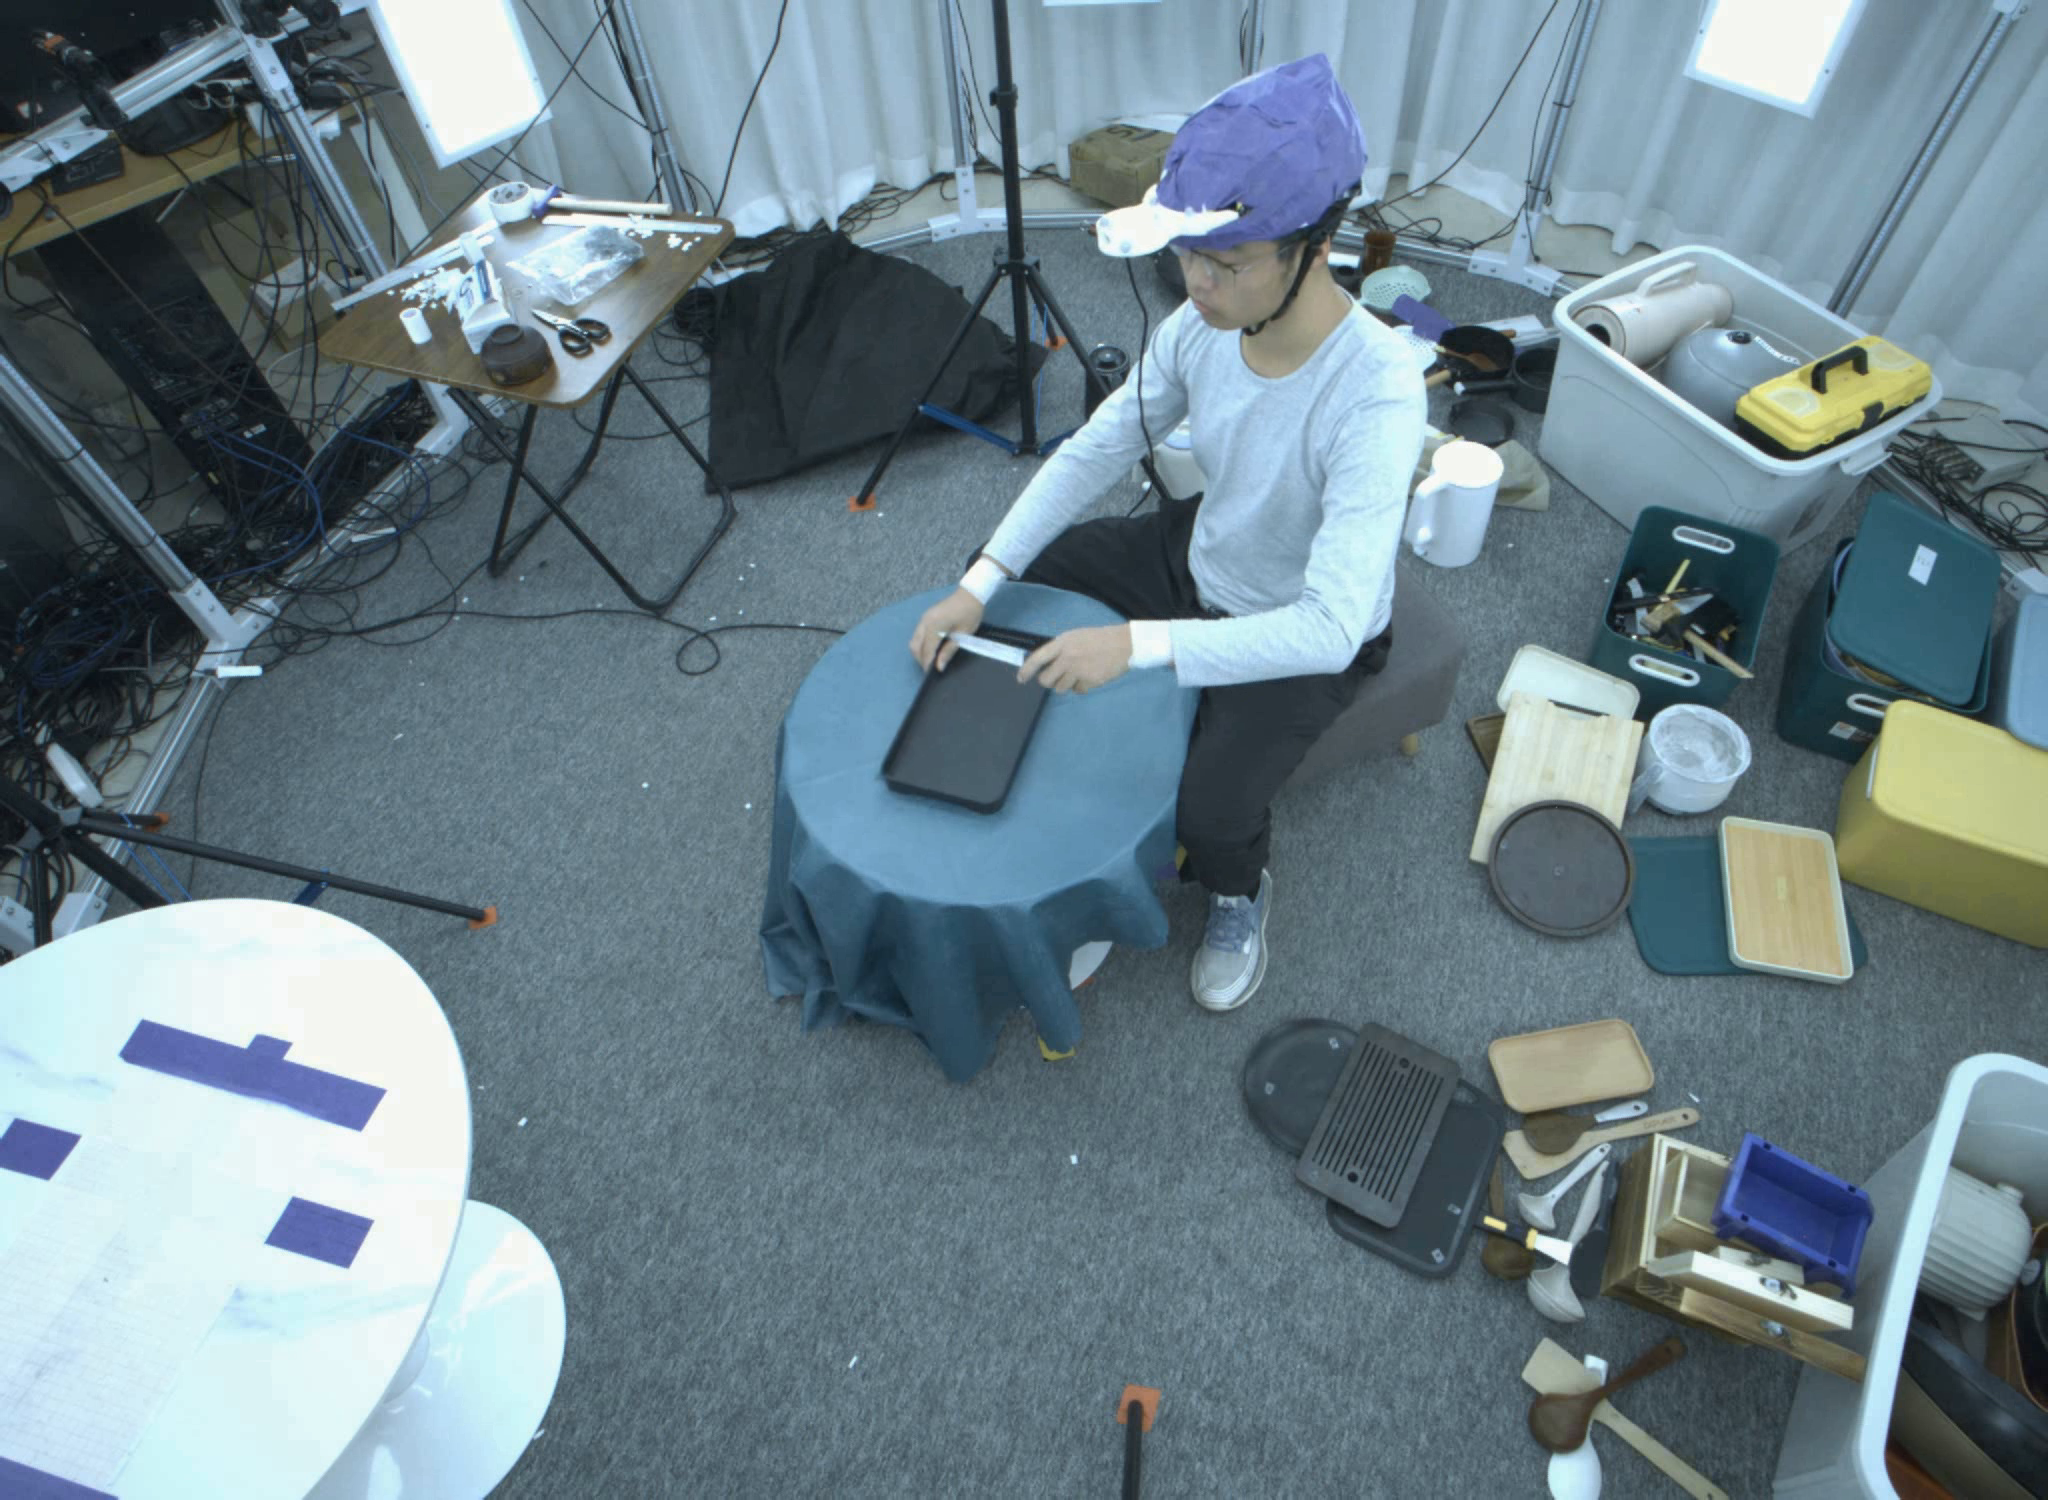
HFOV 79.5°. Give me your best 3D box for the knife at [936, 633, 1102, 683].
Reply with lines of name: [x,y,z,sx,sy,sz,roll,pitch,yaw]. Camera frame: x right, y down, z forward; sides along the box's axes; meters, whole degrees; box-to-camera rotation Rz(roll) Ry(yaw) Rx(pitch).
knife: [-0.008,-0.127,1.628,0.236,0.016,0.024,16,89,13]

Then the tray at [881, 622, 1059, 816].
tray: [-0.075,-0.053,1.813,0.183,0.037,0.317,14,55,10]
